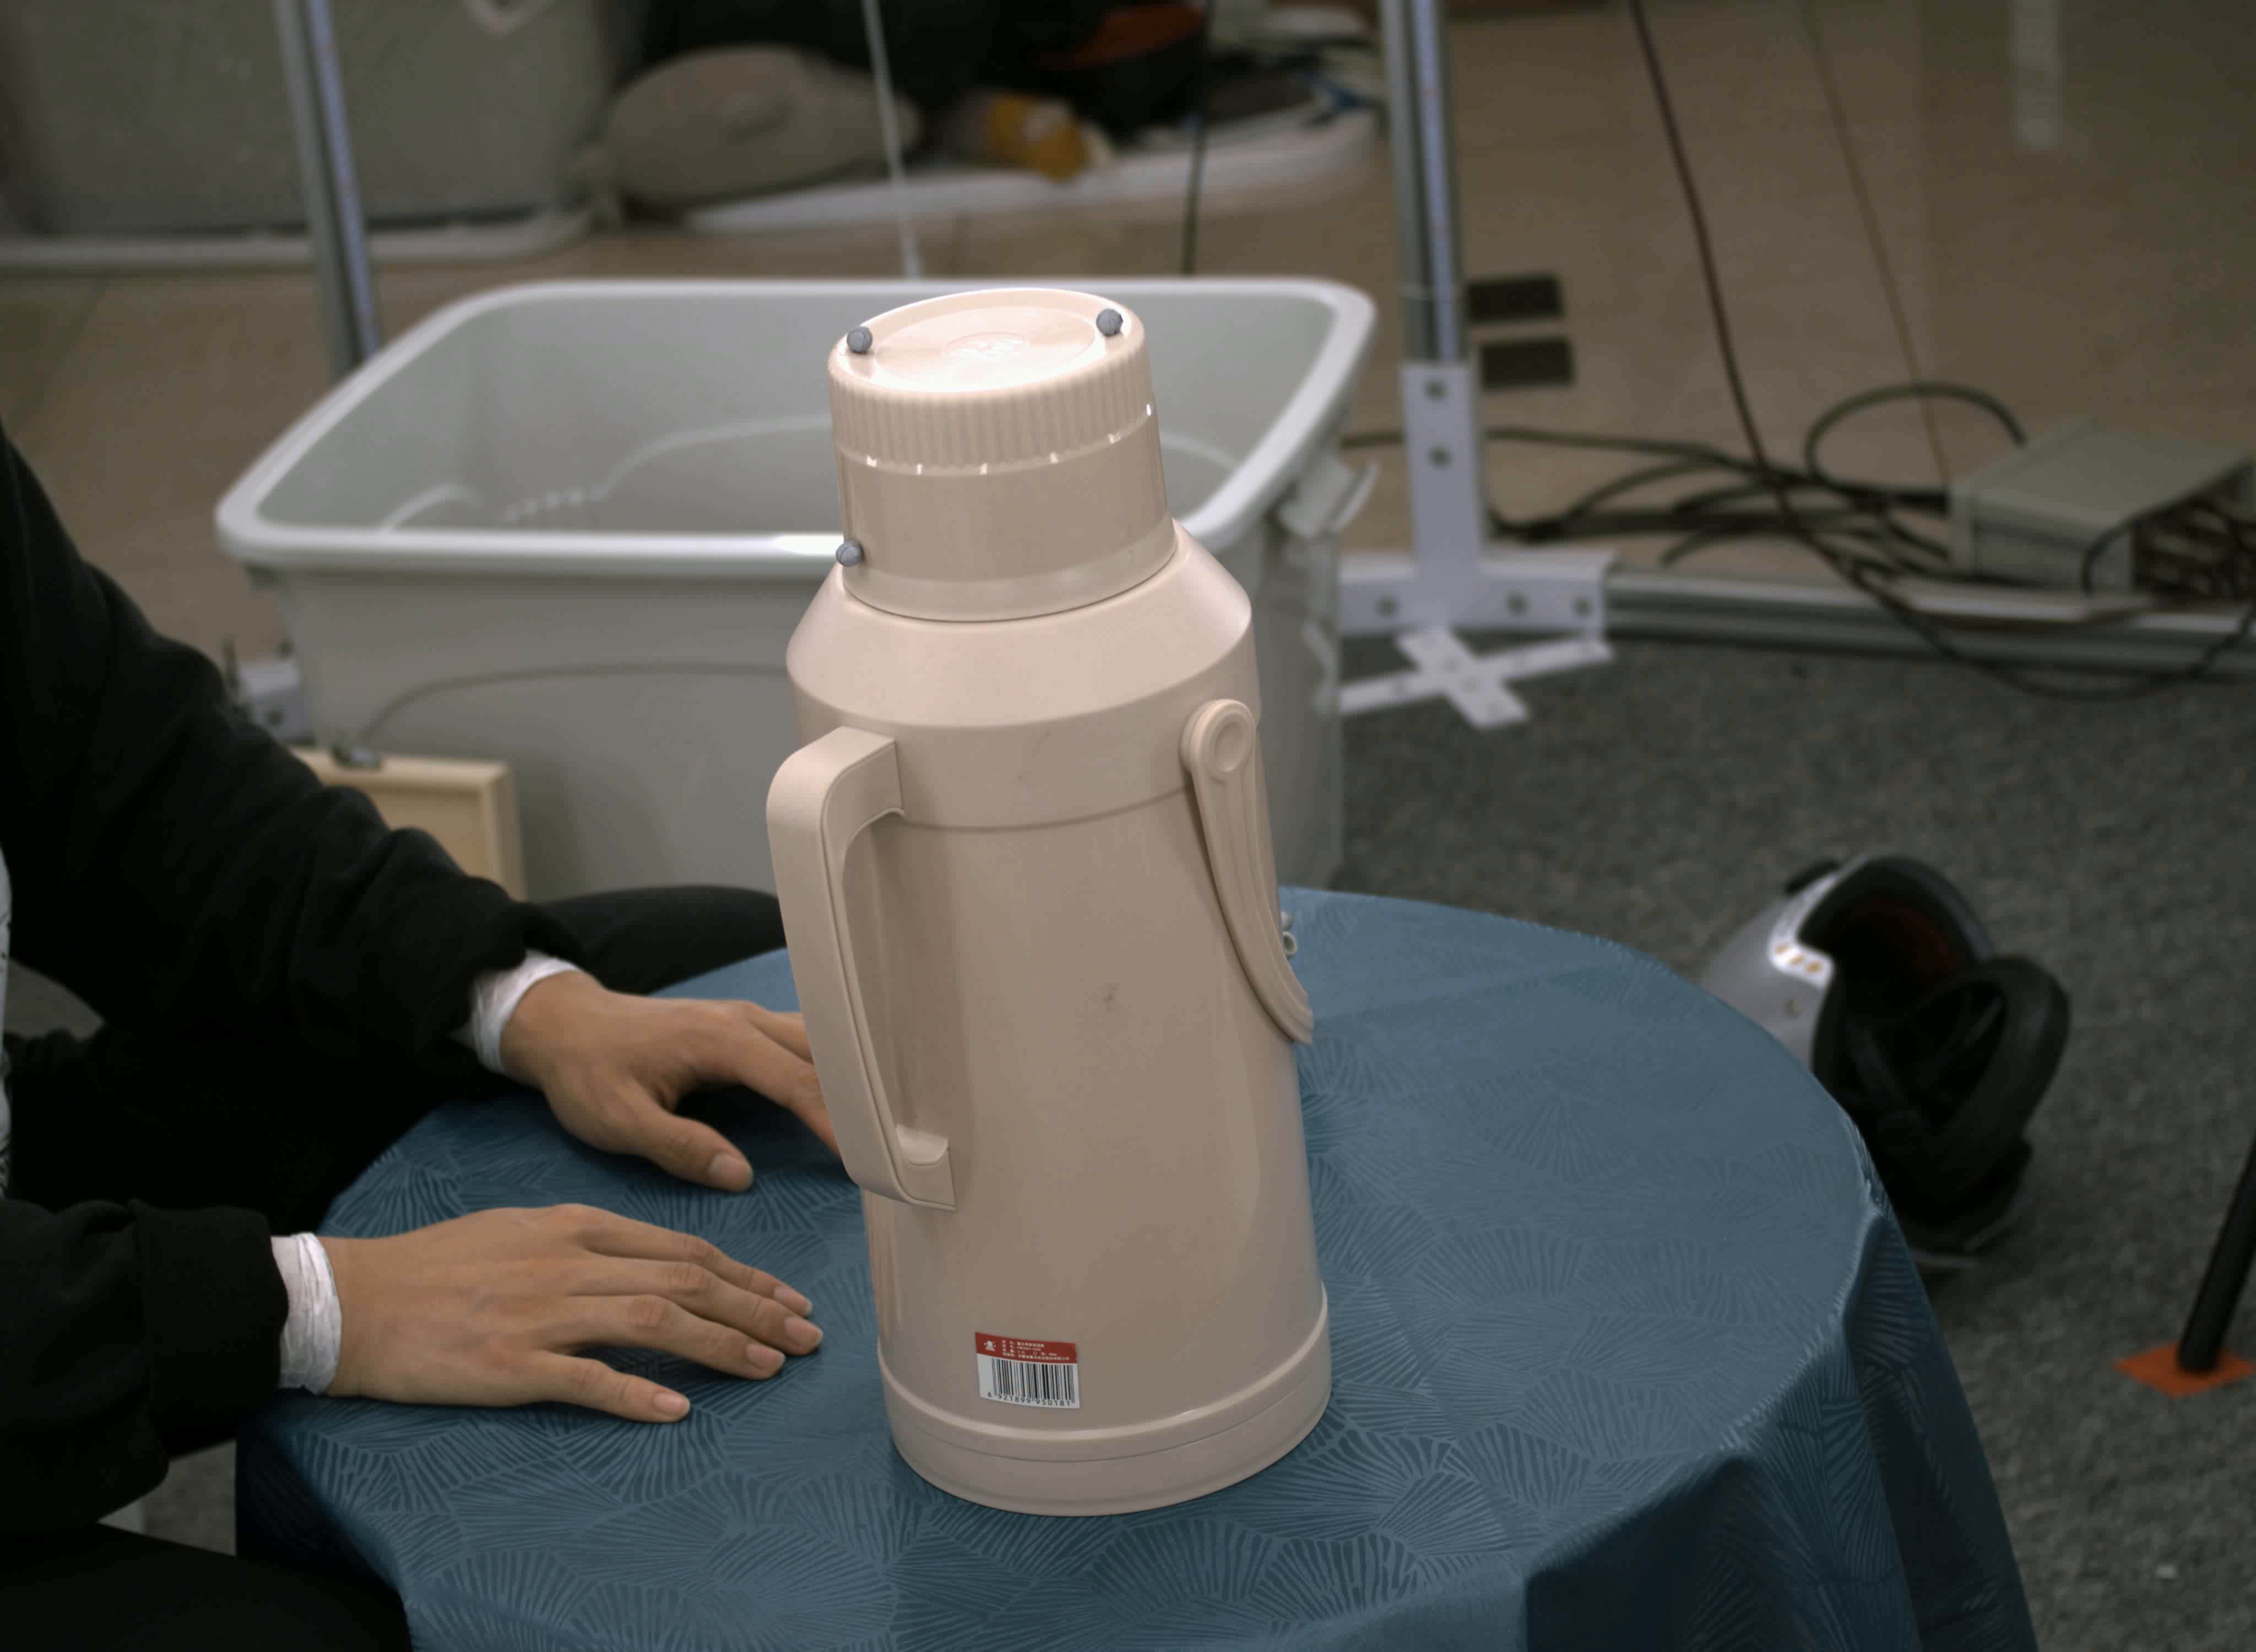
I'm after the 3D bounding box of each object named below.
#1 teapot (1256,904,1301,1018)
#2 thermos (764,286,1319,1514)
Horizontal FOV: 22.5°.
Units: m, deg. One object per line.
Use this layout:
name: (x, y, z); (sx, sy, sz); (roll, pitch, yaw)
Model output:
teapot: (0.012, 0.061, 2.243); (0.127, 0.060, 0.090); (6, 32, 24)
thermos: (-0.038, 0.029, 1.918); (0.174, 0.413, 0.205); (16, 33, 35)
